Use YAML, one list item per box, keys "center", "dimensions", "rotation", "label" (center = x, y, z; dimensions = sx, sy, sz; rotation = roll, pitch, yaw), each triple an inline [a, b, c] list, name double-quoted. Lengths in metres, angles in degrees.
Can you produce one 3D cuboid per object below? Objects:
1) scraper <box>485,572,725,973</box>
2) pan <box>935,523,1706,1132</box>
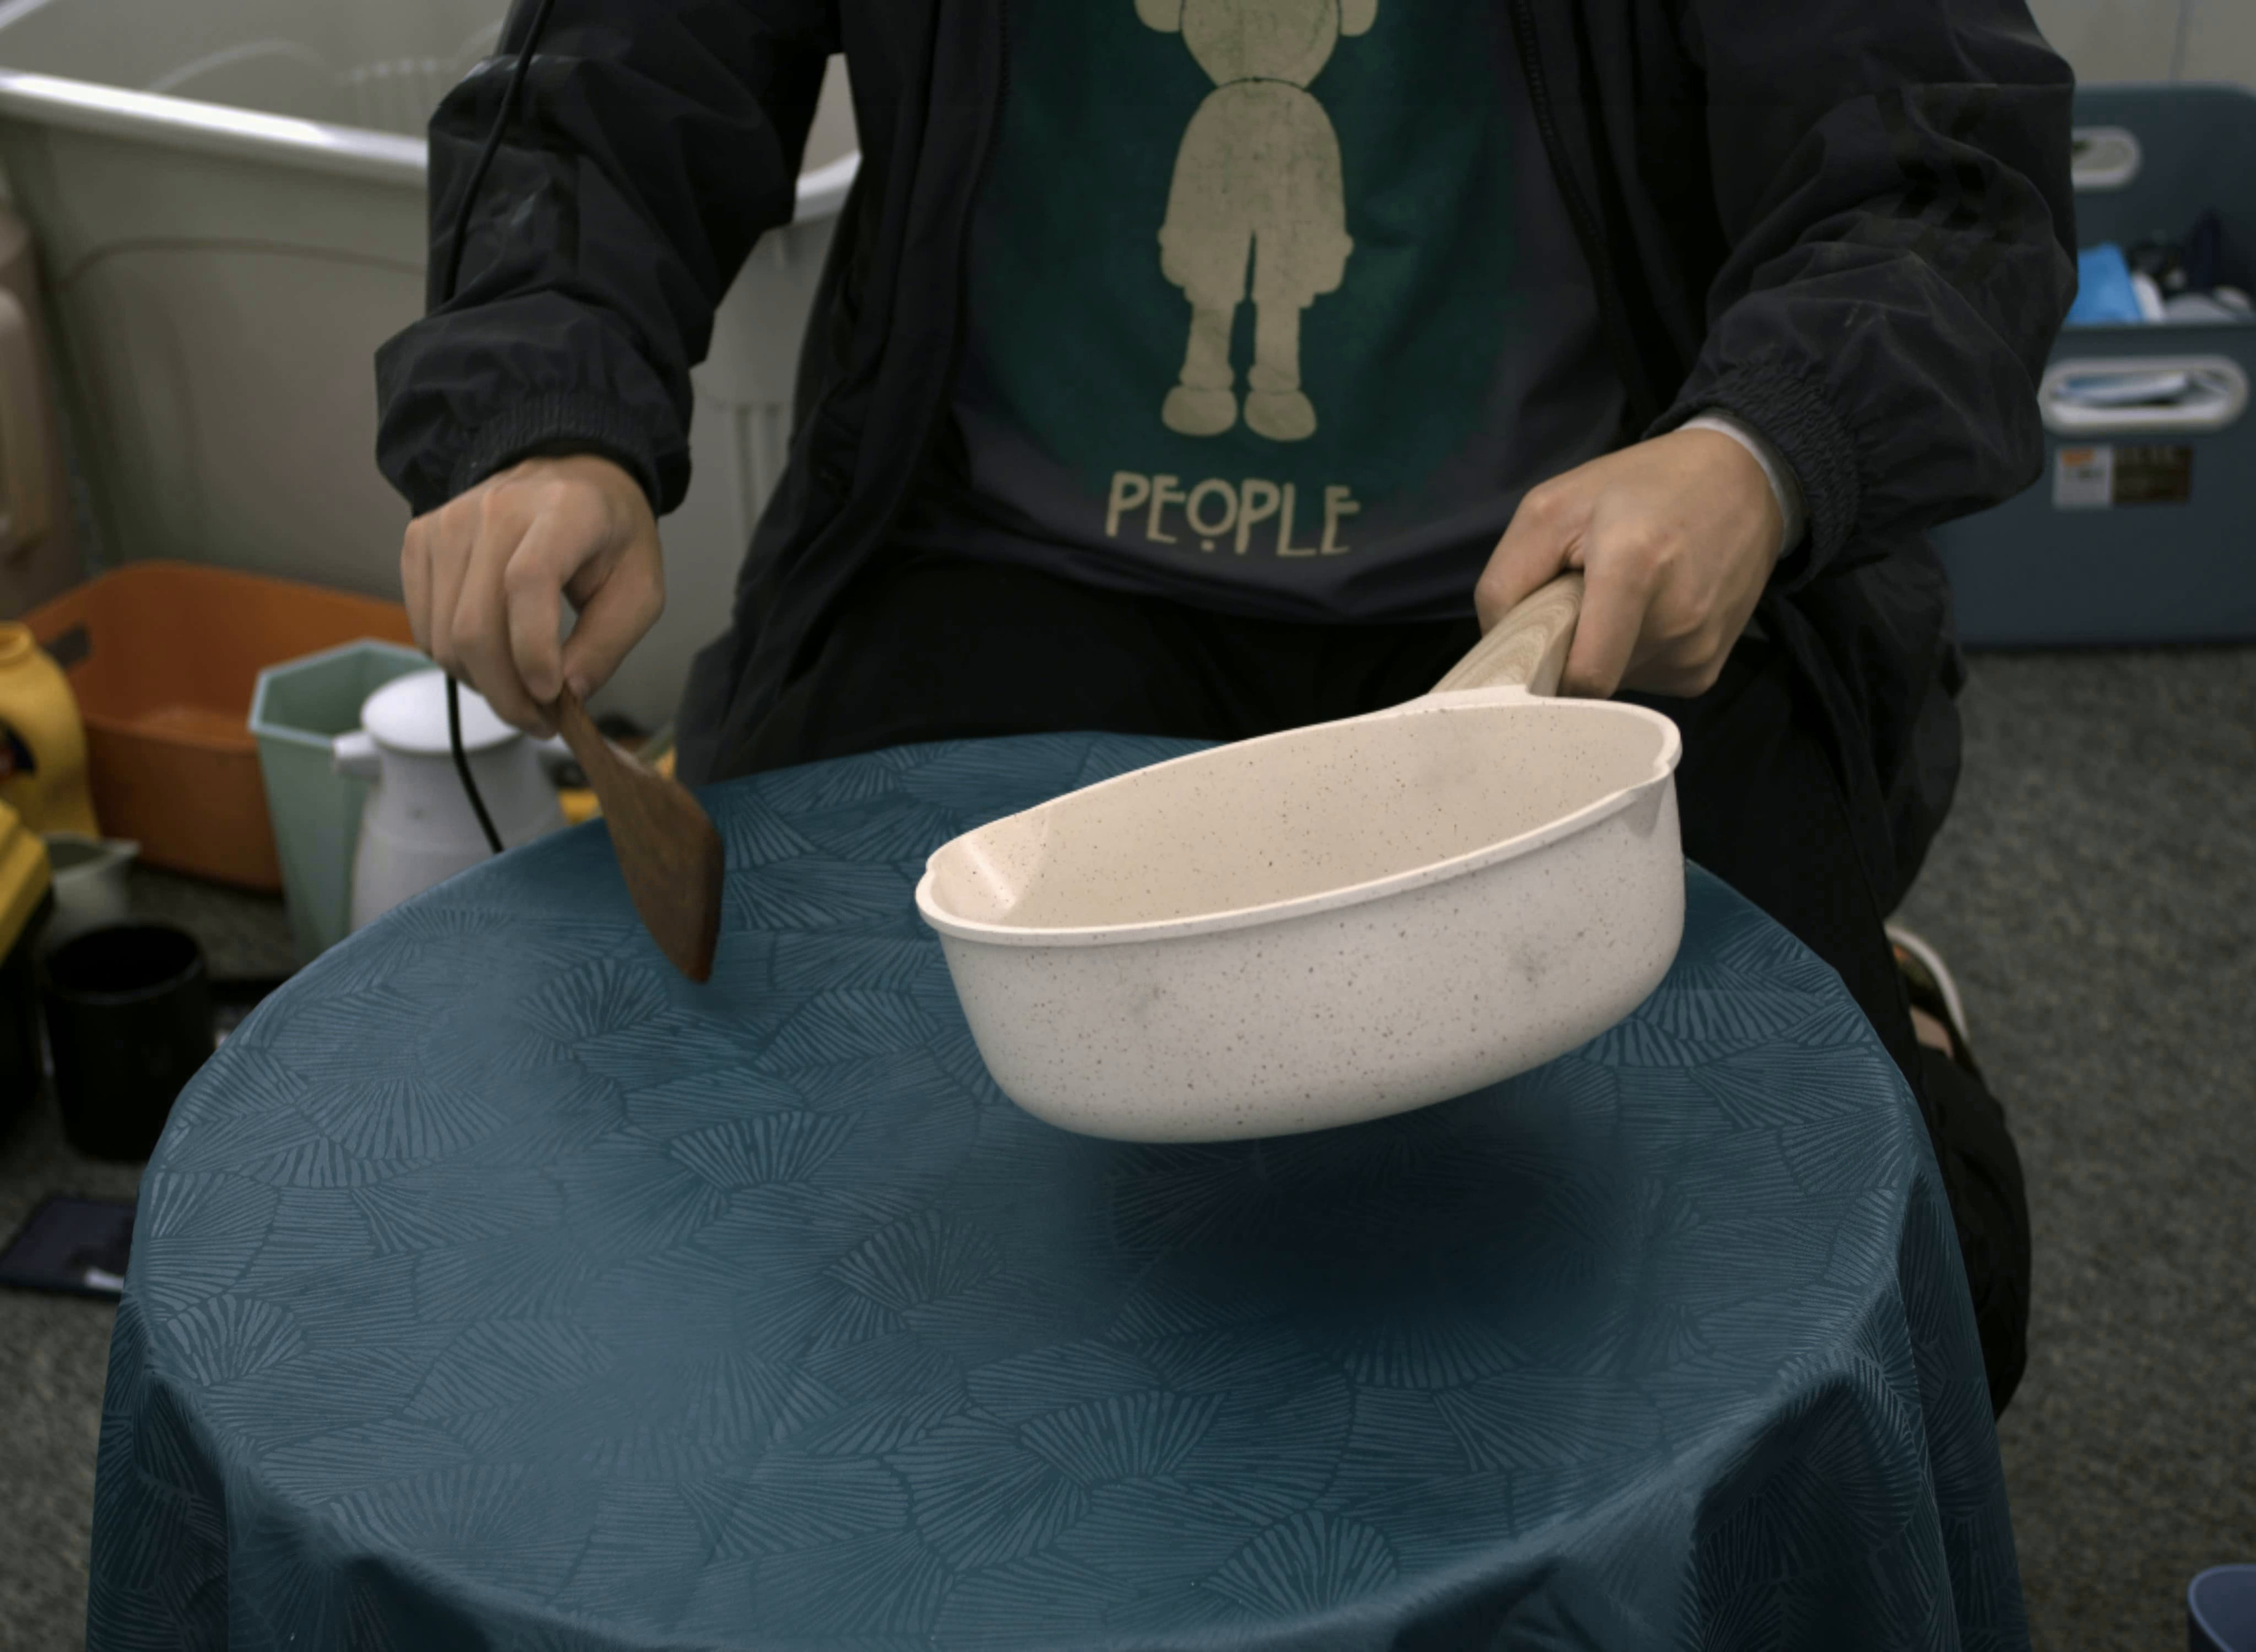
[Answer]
- center: [-0.190, -0.029, 2.010]
  dimensions: [0.011, 0.075, 0.213]
  rotation: [-10, 36, -25]
  label: "scraper"
- center: [0.107, -0.003, 1.886]
  dimensions: [0.260, 0.102, 0.440]
  rotation: [-8, 12, 29]
  label: "pan"
